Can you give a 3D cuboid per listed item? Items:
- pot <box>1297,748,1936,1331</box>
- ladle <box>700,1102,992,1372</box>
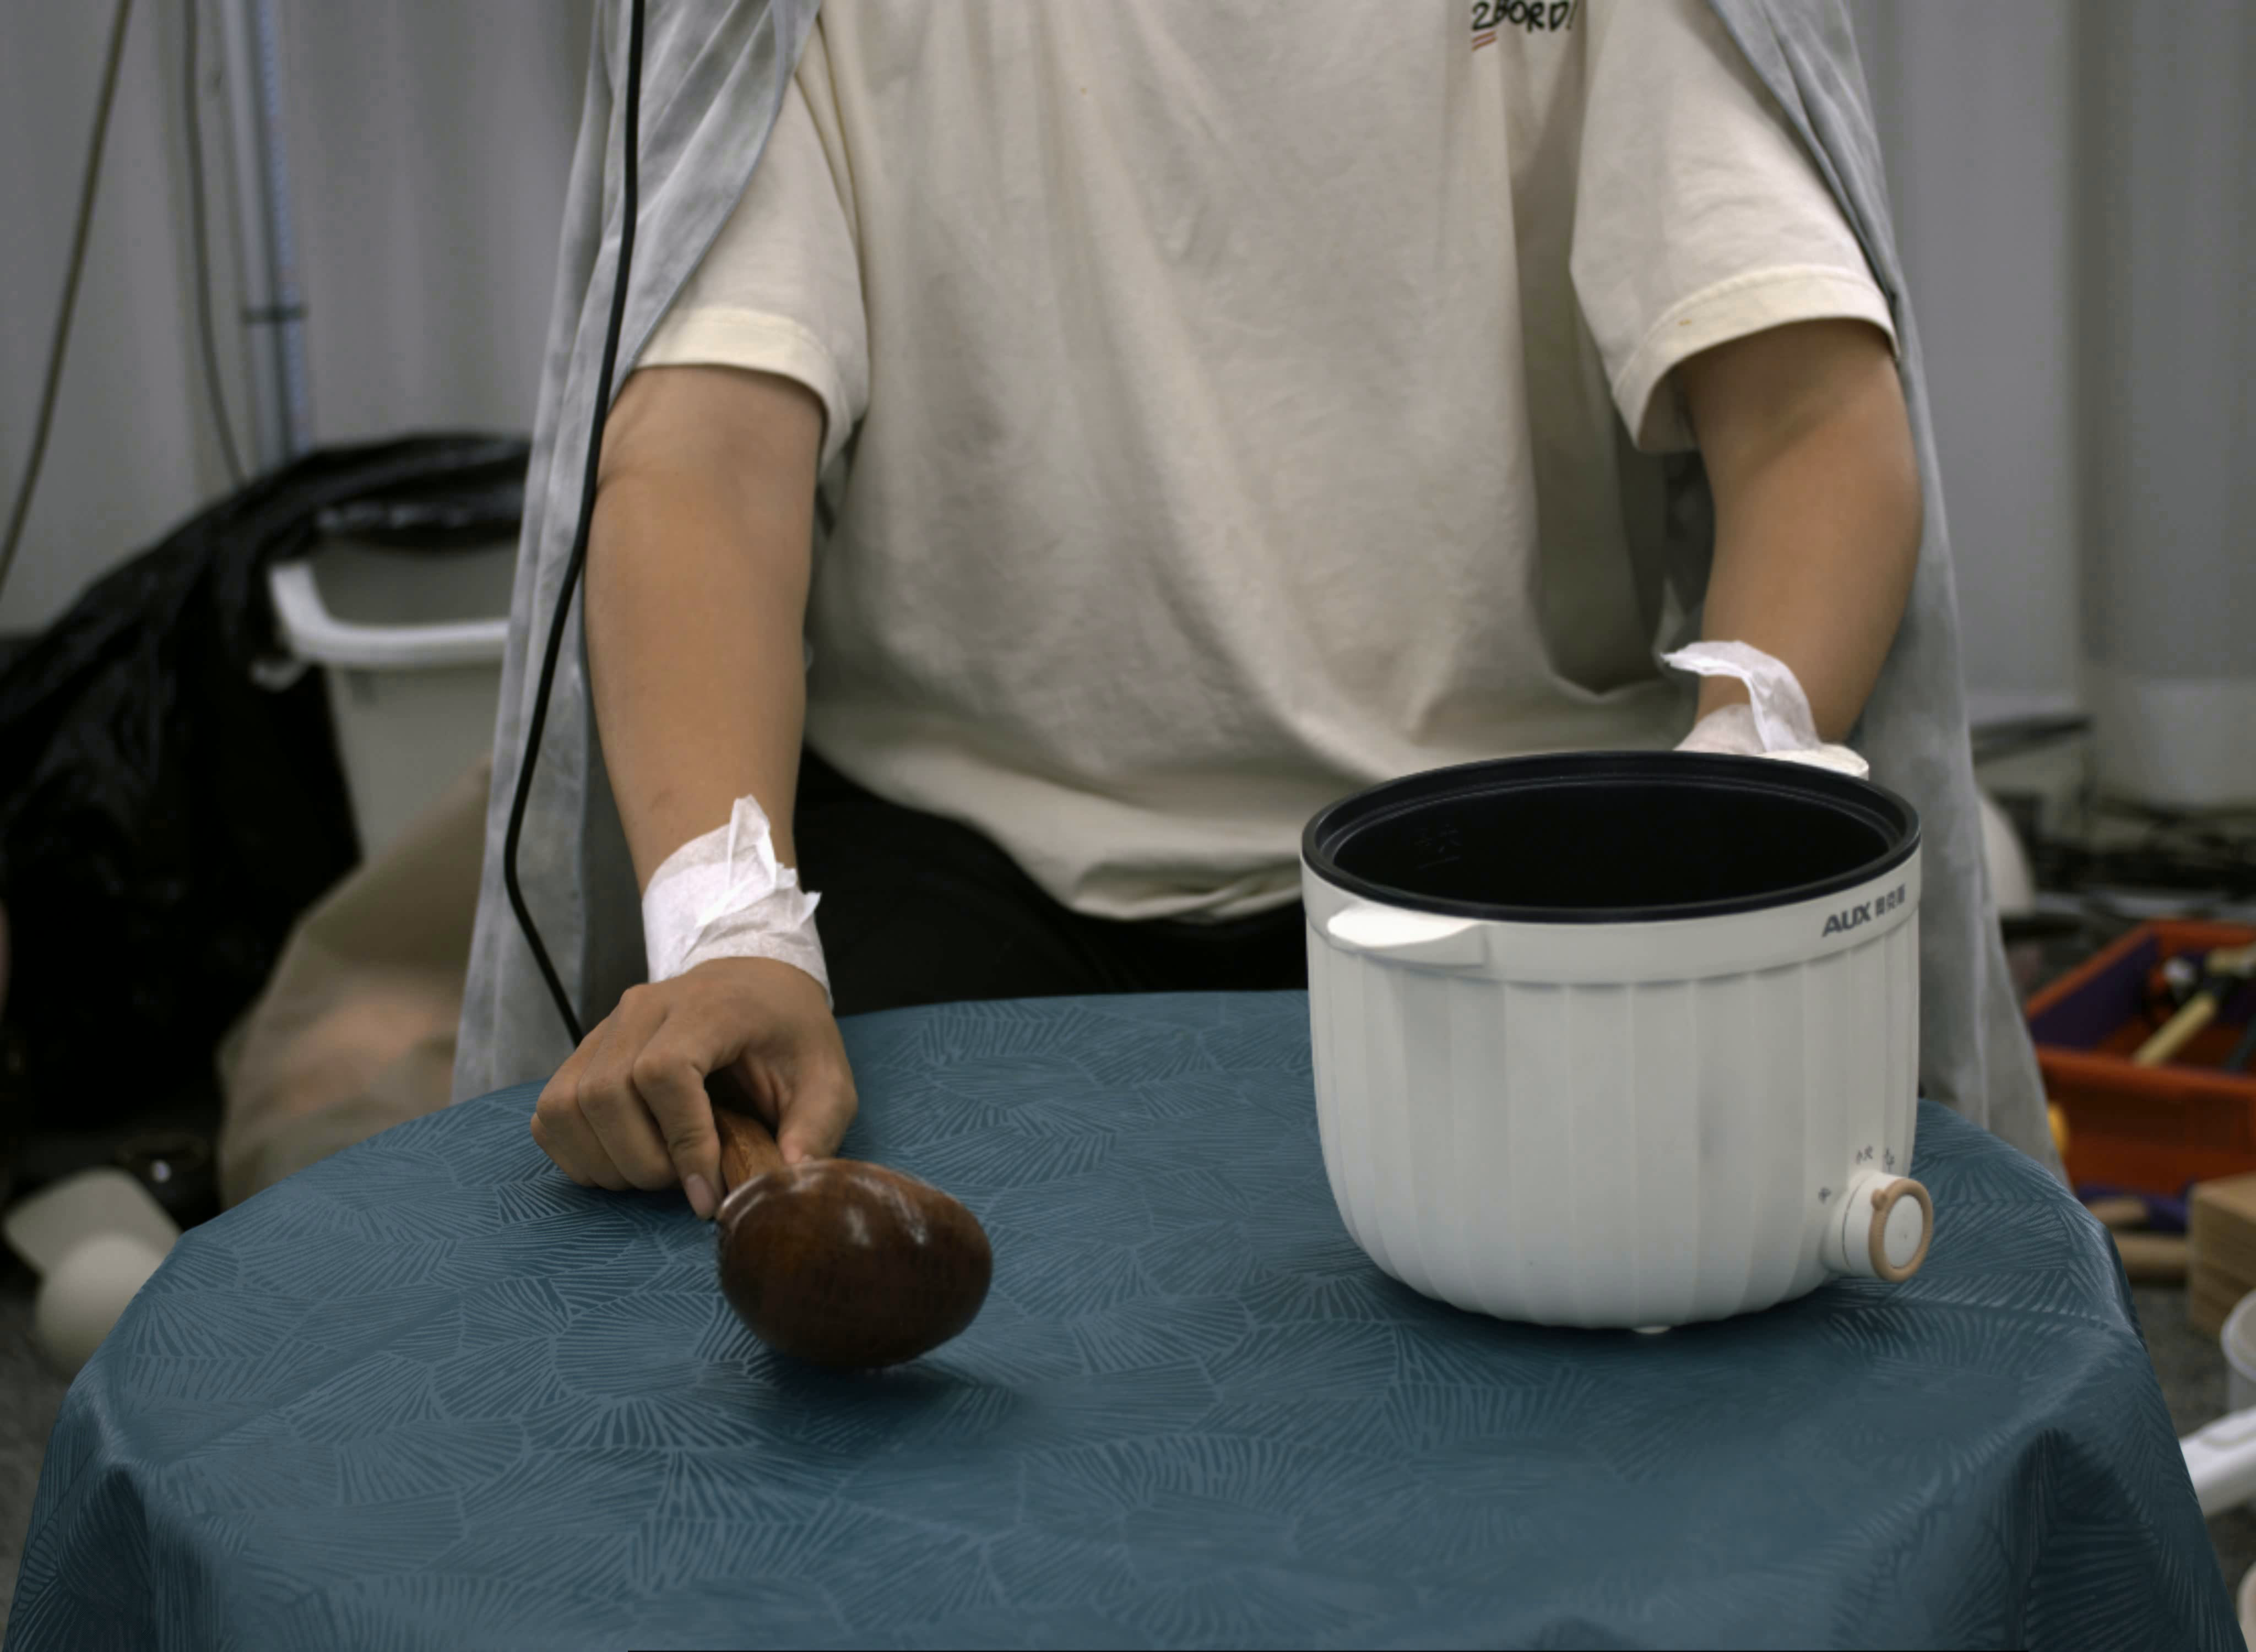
[{"bbox_3d":[0.148,0.064,1.611,0.191,0.142,0.240,5,17,41],"label":"pot"},{"bbox_3d":[-0.097,0.100,1.650,0.081,0.076,0.276,27,8,-14],"label":"ladle"}]
